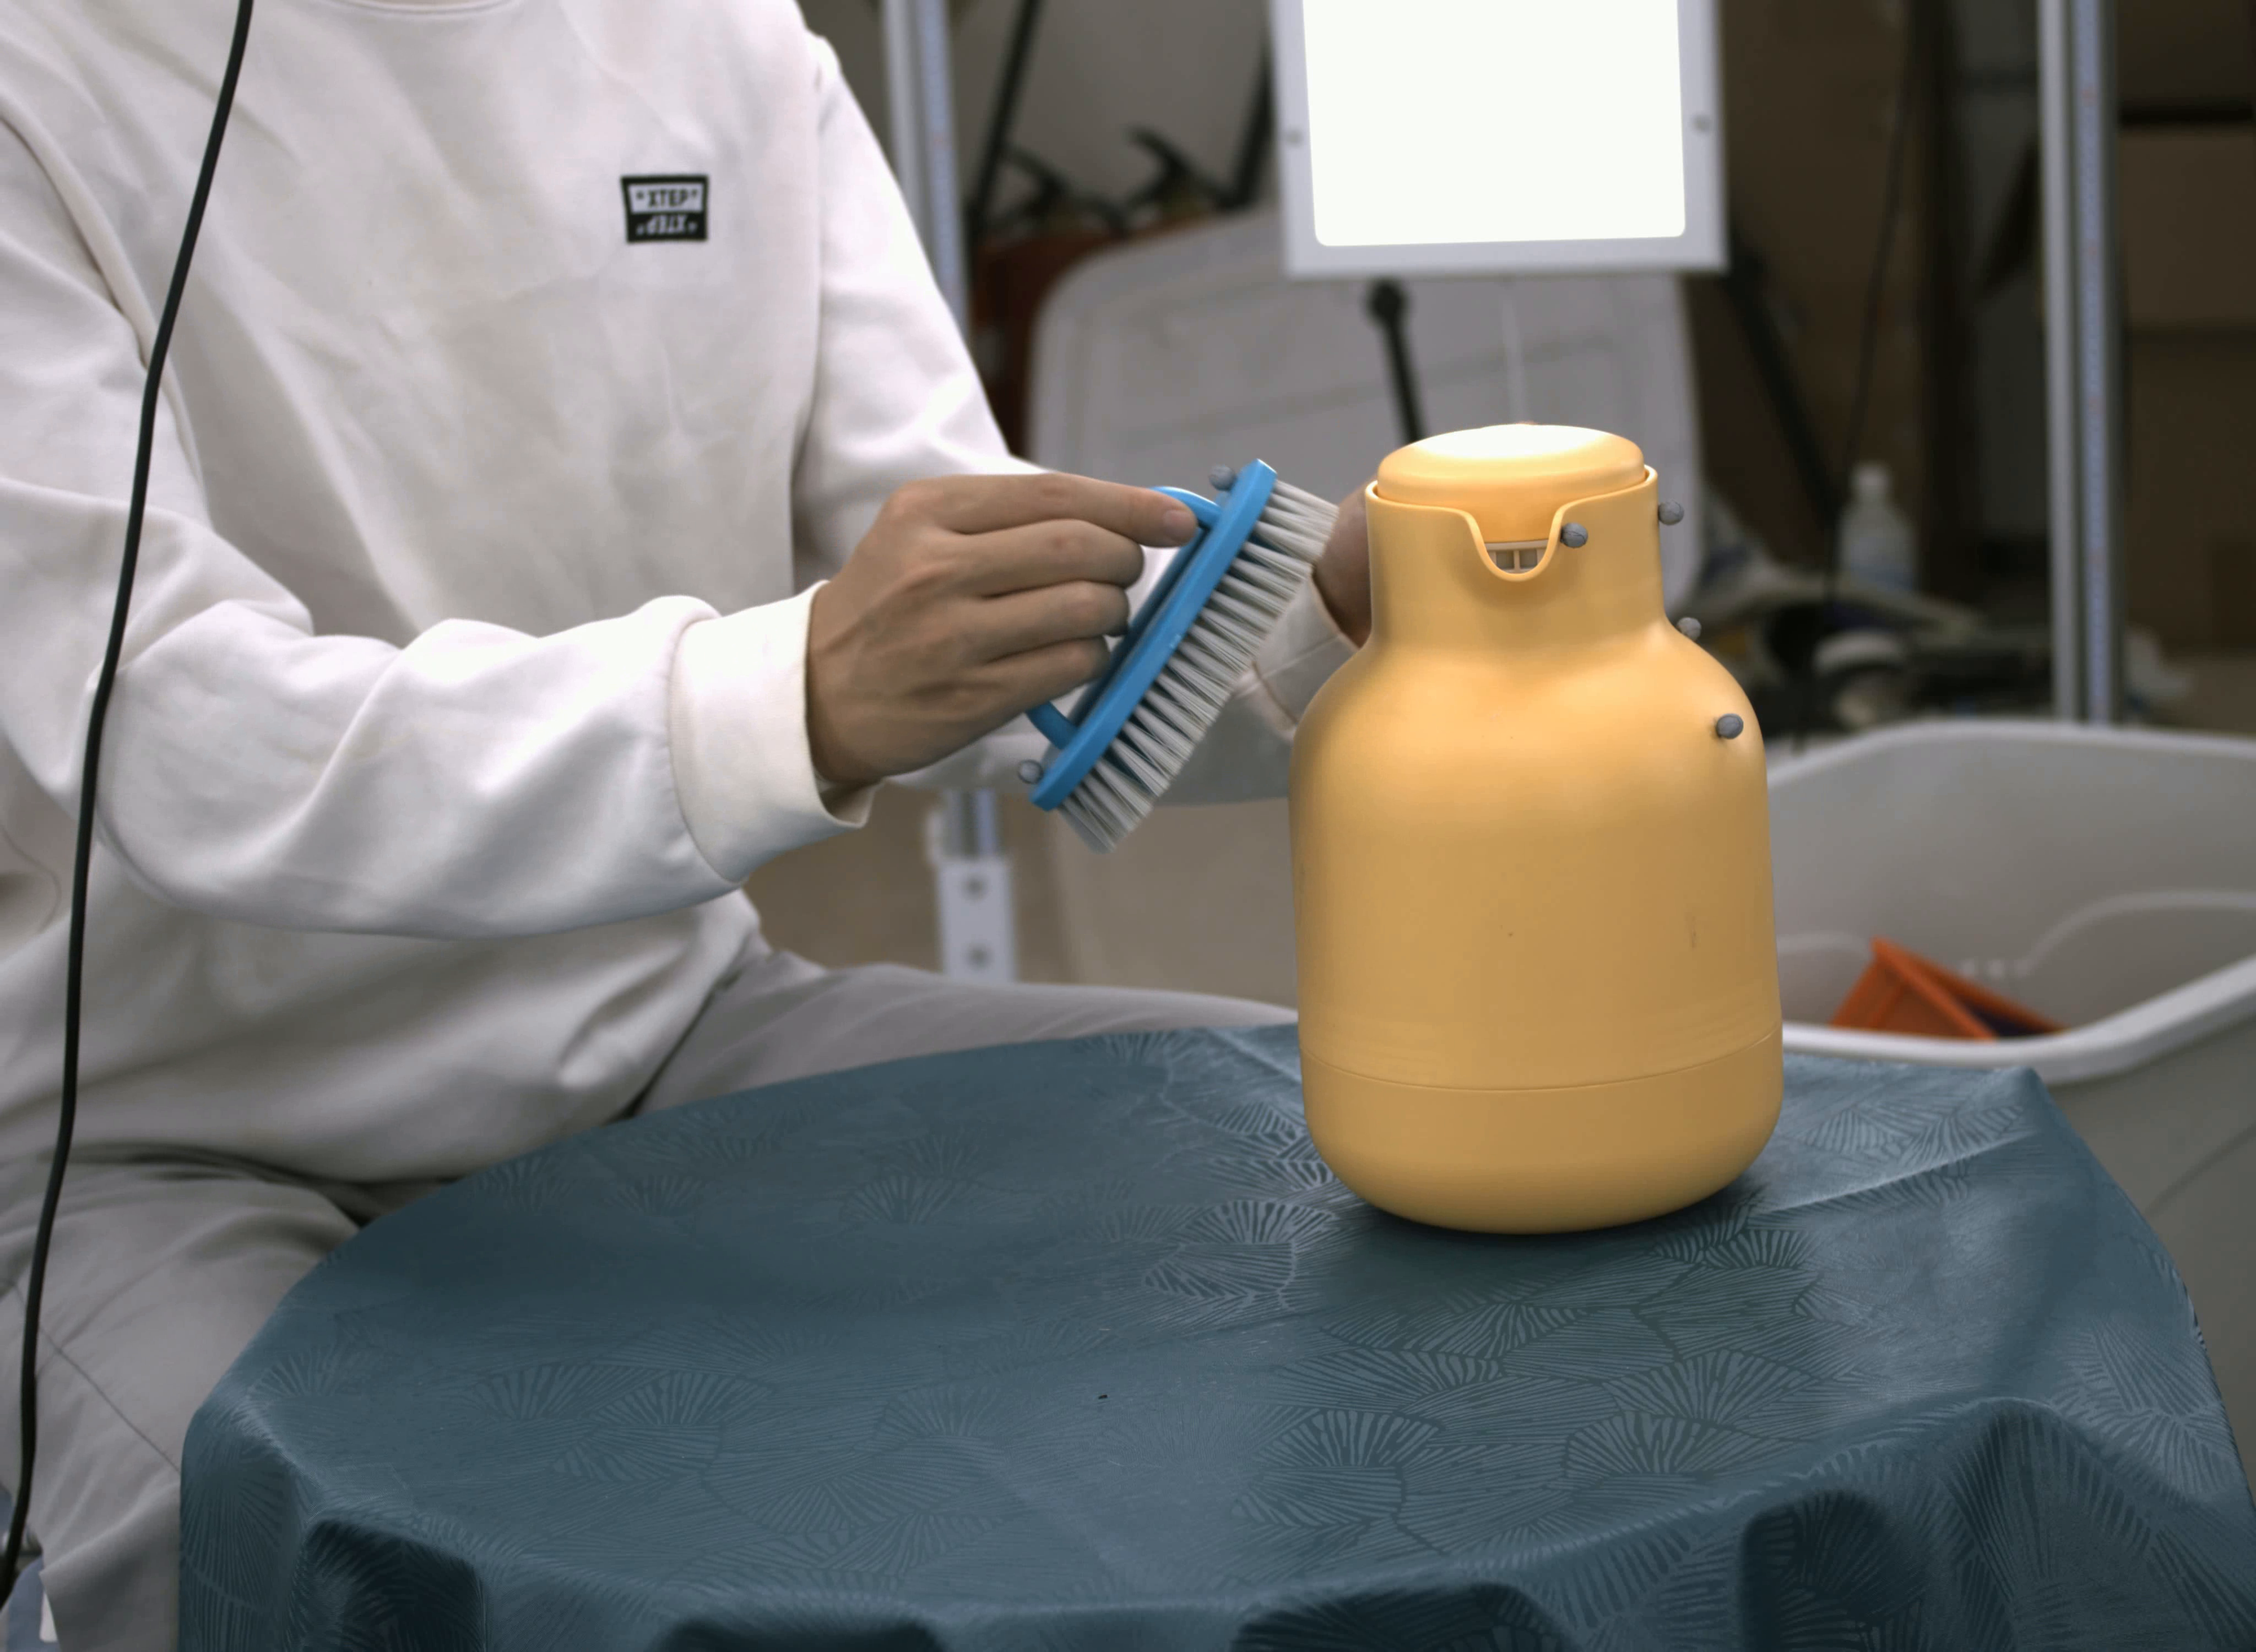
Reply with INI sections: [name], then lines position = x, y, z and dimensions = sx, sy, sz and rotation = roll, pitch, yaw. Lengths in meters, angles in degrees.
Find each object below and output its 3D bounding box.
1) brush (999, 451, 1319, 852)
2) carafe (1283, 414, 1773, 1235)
[brush]
position = 0.001, -0.066, 1.817
dimensions = 0.063, 0.142, 0.085
rotation = 33, 1, -11
[carafe]
position = 0.135, -0.009, 1.852
dimensions = 0.164, 0.261, 0.201
rotation = -1, 15, 6
